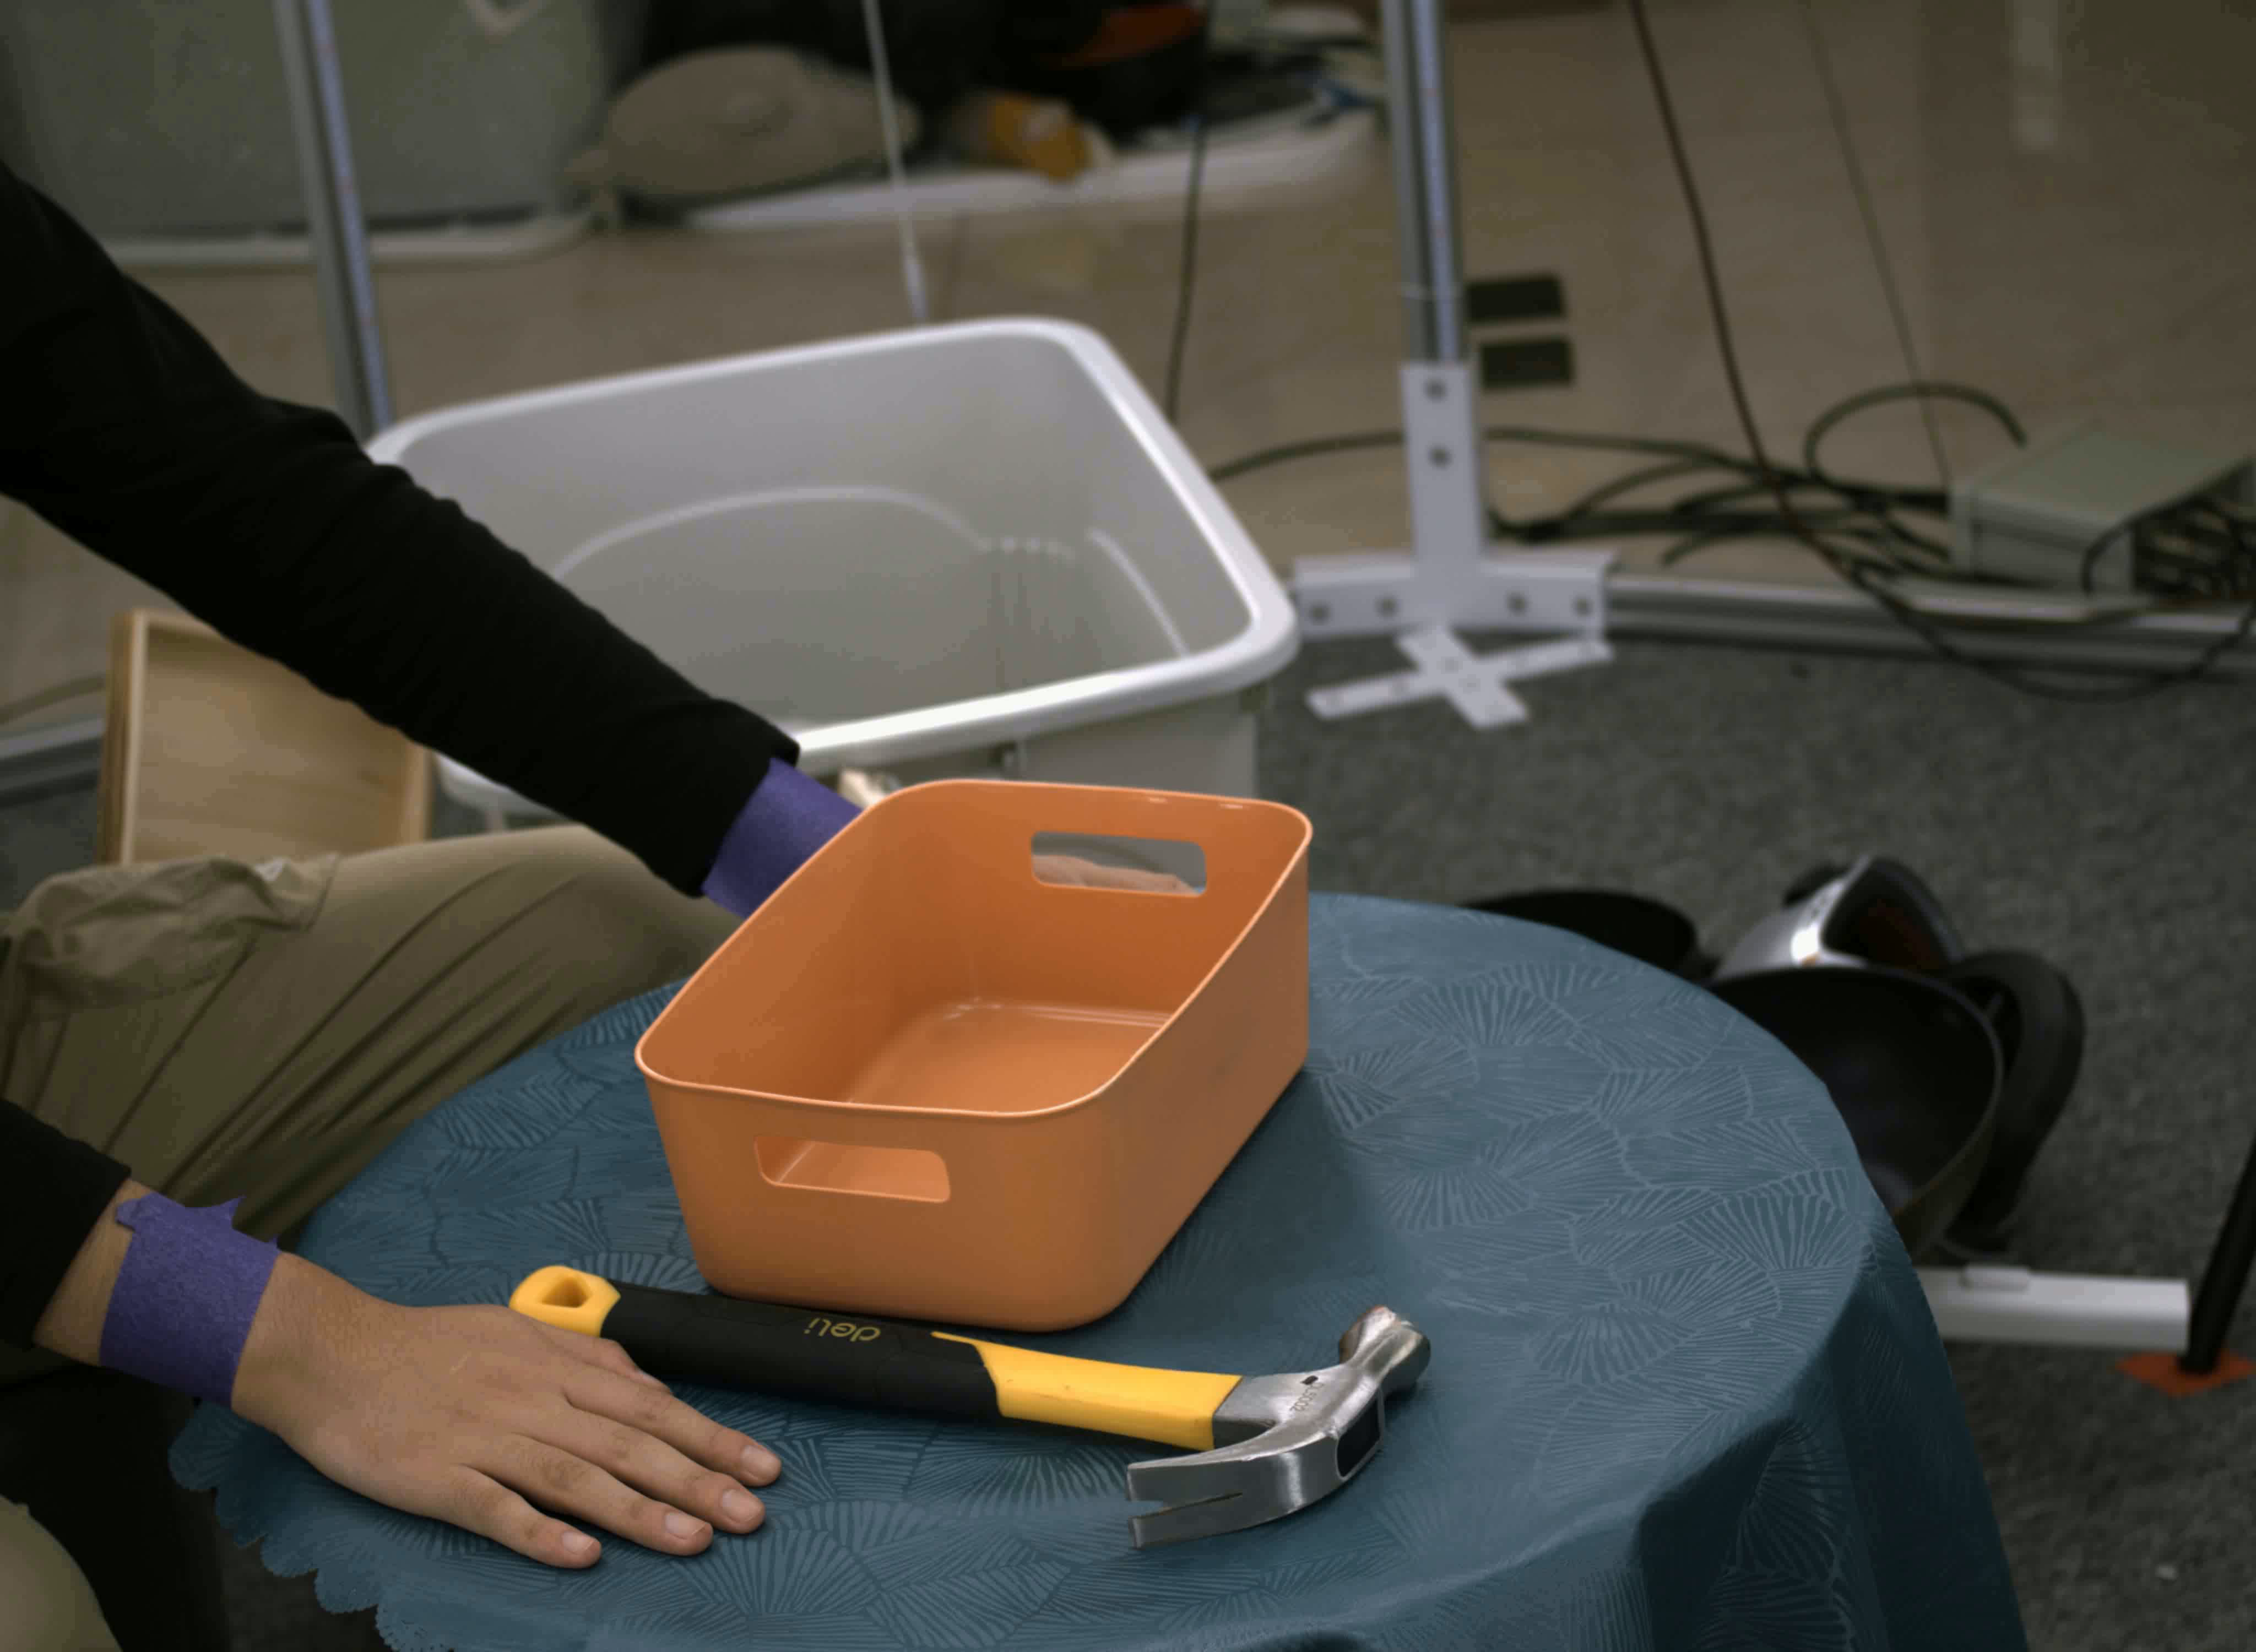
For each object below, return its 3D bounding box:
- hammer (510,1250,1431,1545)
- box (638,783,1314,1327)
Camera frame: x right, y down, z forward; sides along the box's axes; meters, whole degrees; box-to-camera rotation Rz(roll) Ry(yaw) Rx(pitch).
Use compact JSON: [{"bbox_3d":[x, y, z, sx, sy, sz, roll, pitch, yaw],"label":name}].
[{"bbox_3d":[-0.071,0.190,2.016,0.337,0.033,0.130,8,28,26],"label":"hammer"},{"bbox_3d":[-0.050,0.086,2.153,0.199,0.104,0.269,4,26,22],"label":"box"}]
